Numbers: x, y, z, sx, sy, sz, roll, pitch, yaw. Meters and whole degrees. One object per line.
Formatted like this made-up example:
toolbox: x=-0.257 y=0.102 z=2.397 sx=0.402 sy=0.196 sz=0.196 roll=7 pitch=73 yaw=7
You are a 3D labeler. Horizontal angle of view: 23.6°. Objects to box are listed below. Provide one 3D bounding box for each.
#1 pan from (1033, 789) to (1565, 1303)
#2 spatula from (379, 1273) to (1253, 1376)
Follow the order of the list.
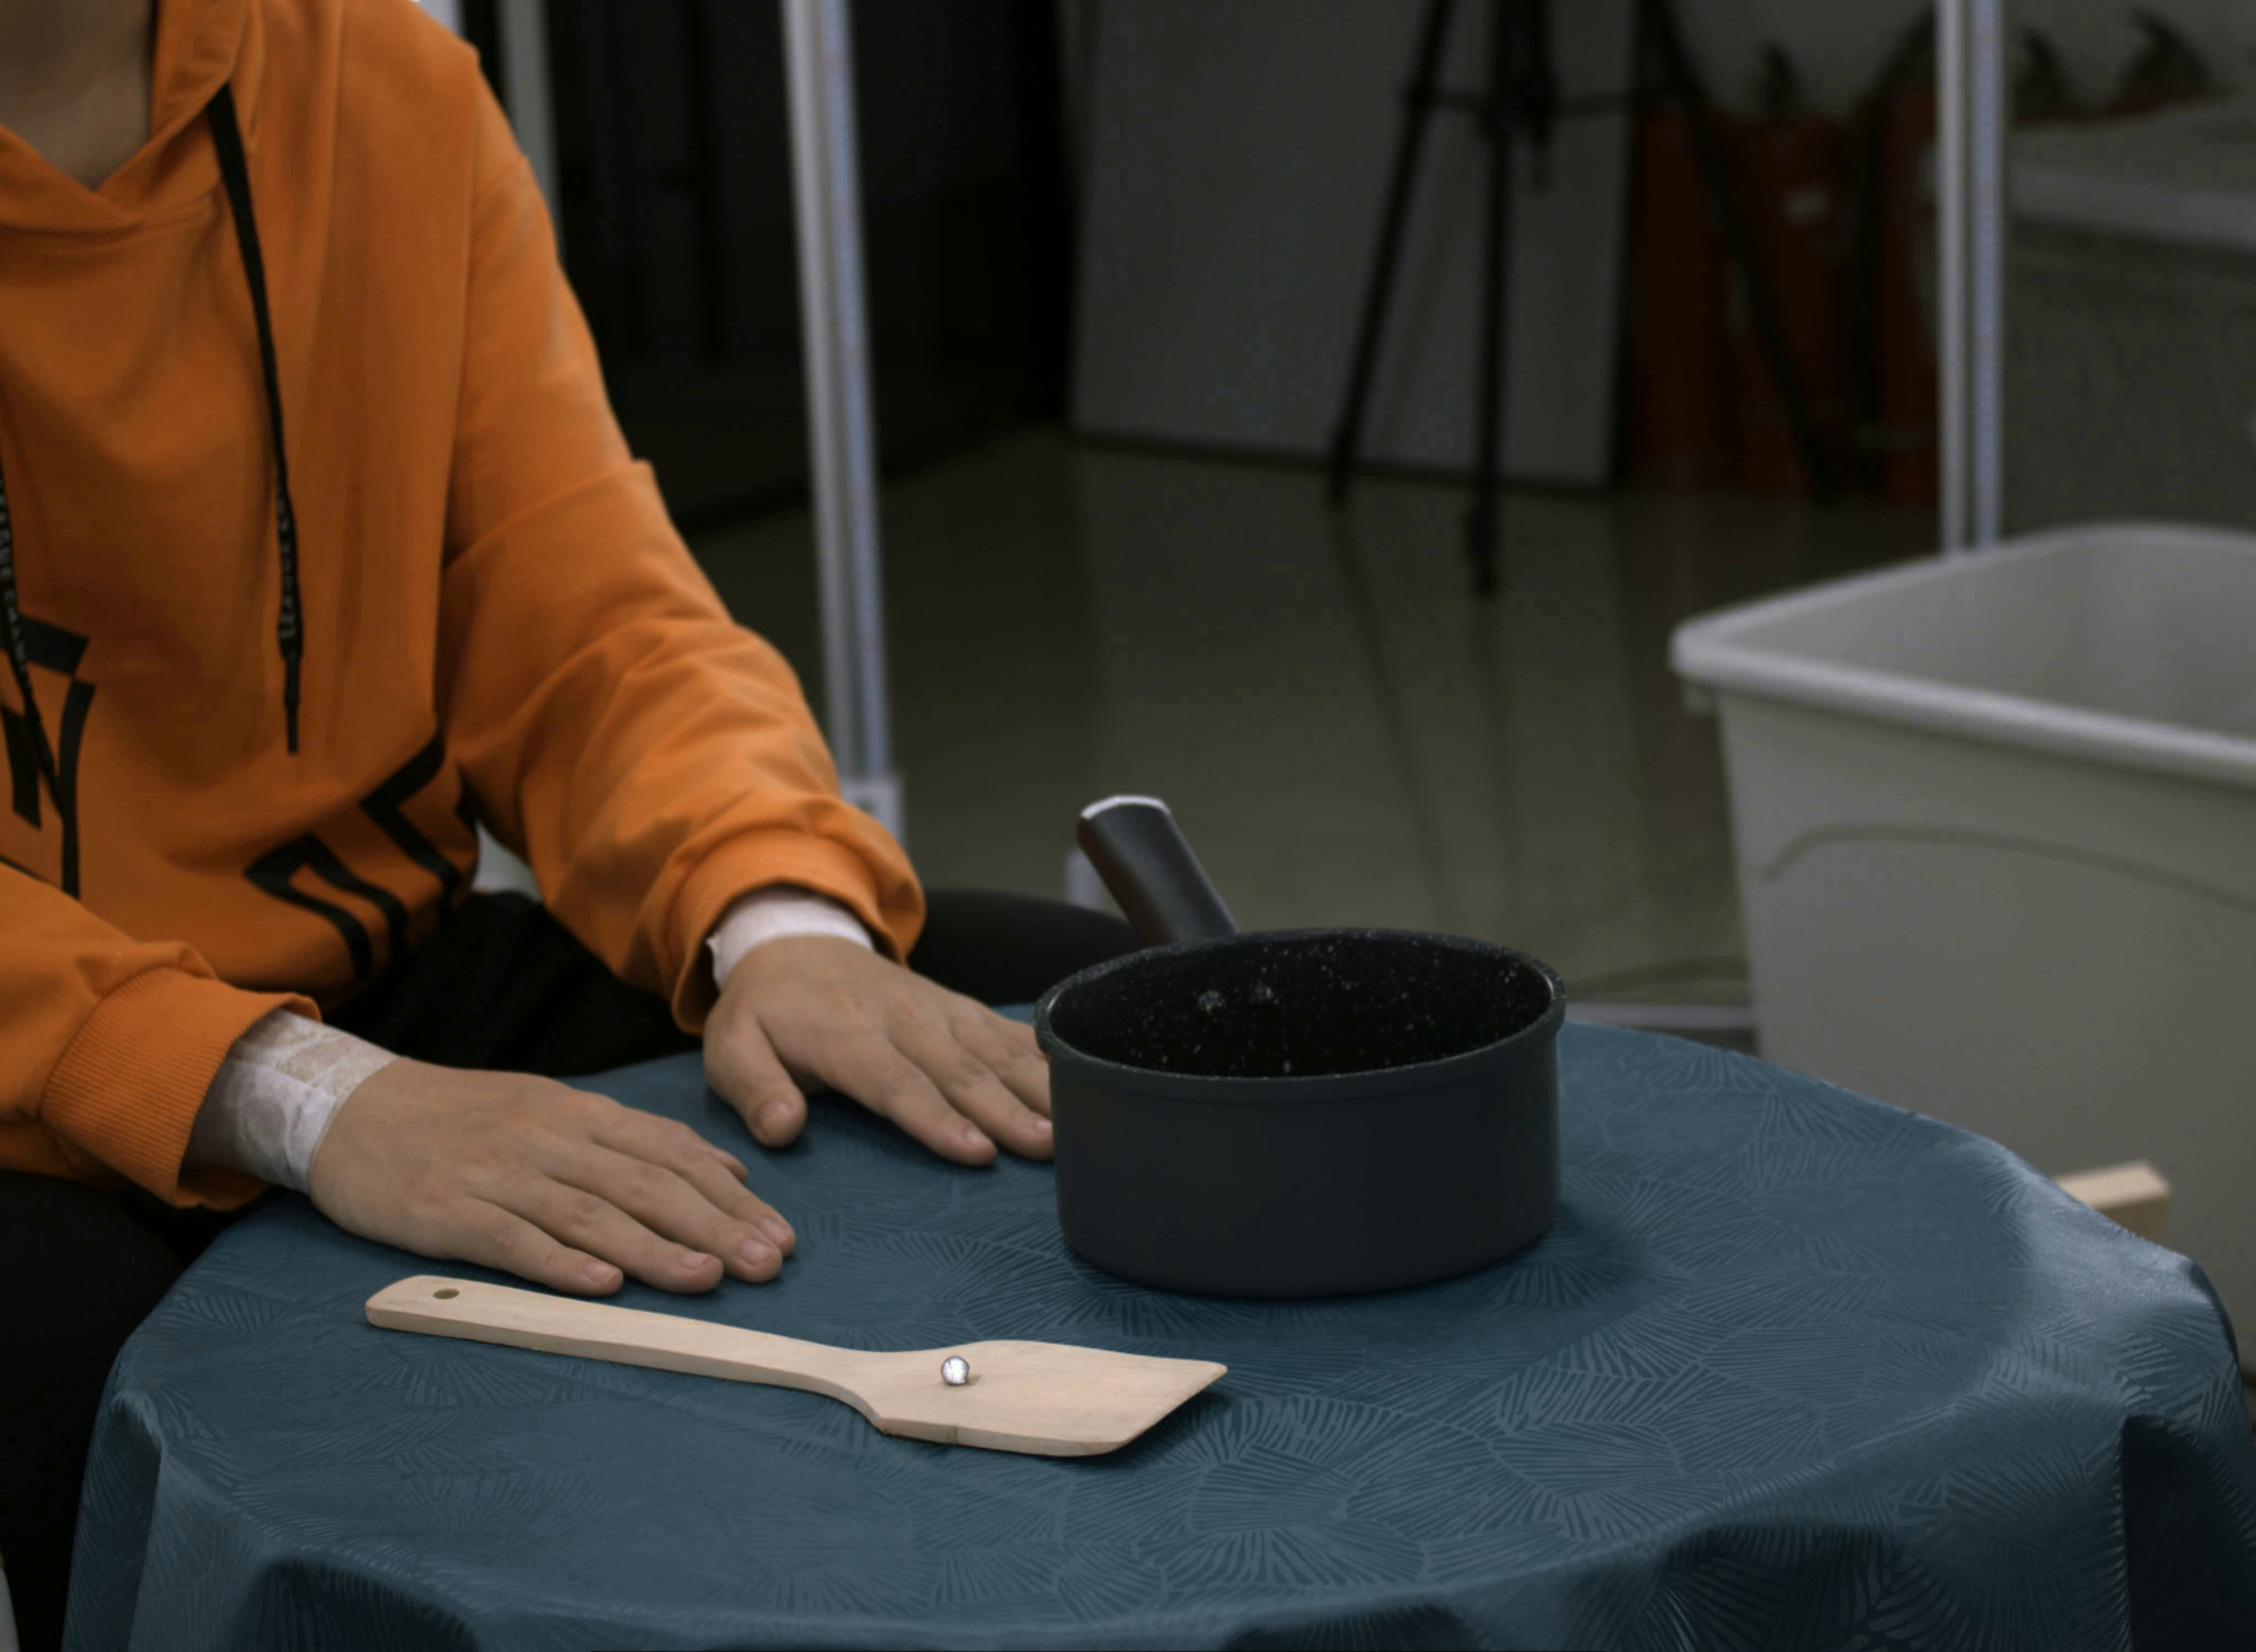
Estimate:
pan: x=0.041 y=0.069 z=1.793 sx=0.169 sy=0.087 sz=0.331 roll=-6 pitch=15 yaw=-9
spatula: x=-0.104 y=0.149 z=1.629 sx=0.294 sy=0.011 sz=0.071 roll=1 pitch=6 yaw=29
